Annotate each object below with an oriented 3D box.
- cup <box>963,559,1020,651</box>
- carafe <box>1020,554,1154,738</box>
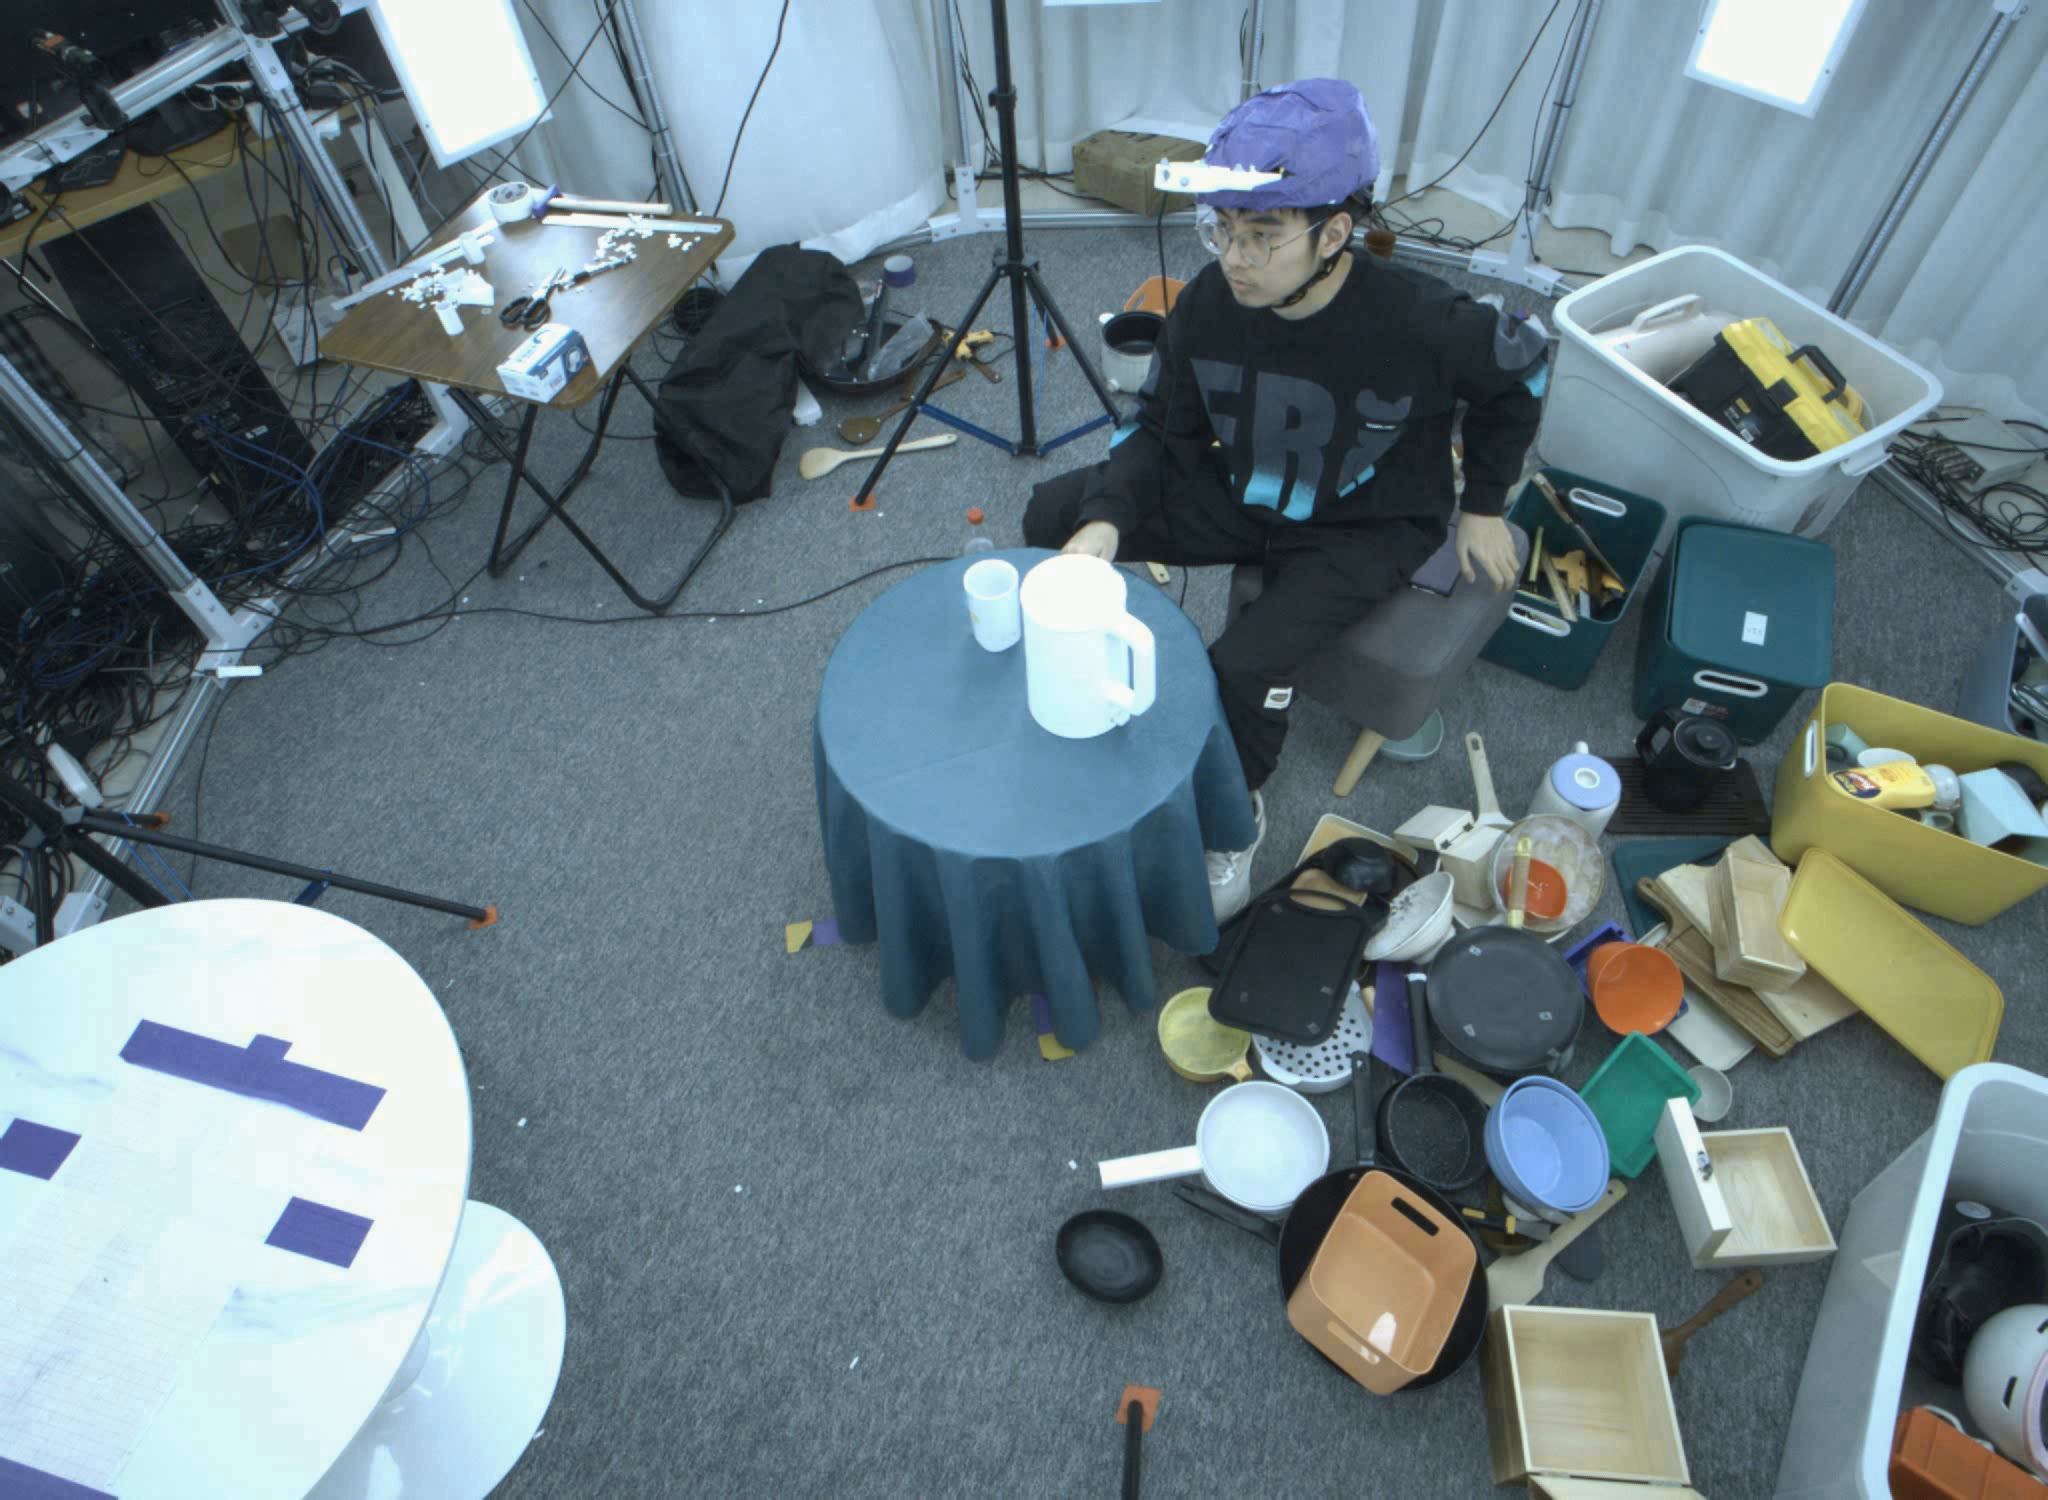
[{"bbox_3d":[-0.046,-0.217,1.862,0.081,0.127,0.081,-1,54,2],"label":"cup"},{"bbox_3d":[0.091,-0.131,1.730,0.209,0.243,0.153,35,65,25],"label":"carafe"}]
